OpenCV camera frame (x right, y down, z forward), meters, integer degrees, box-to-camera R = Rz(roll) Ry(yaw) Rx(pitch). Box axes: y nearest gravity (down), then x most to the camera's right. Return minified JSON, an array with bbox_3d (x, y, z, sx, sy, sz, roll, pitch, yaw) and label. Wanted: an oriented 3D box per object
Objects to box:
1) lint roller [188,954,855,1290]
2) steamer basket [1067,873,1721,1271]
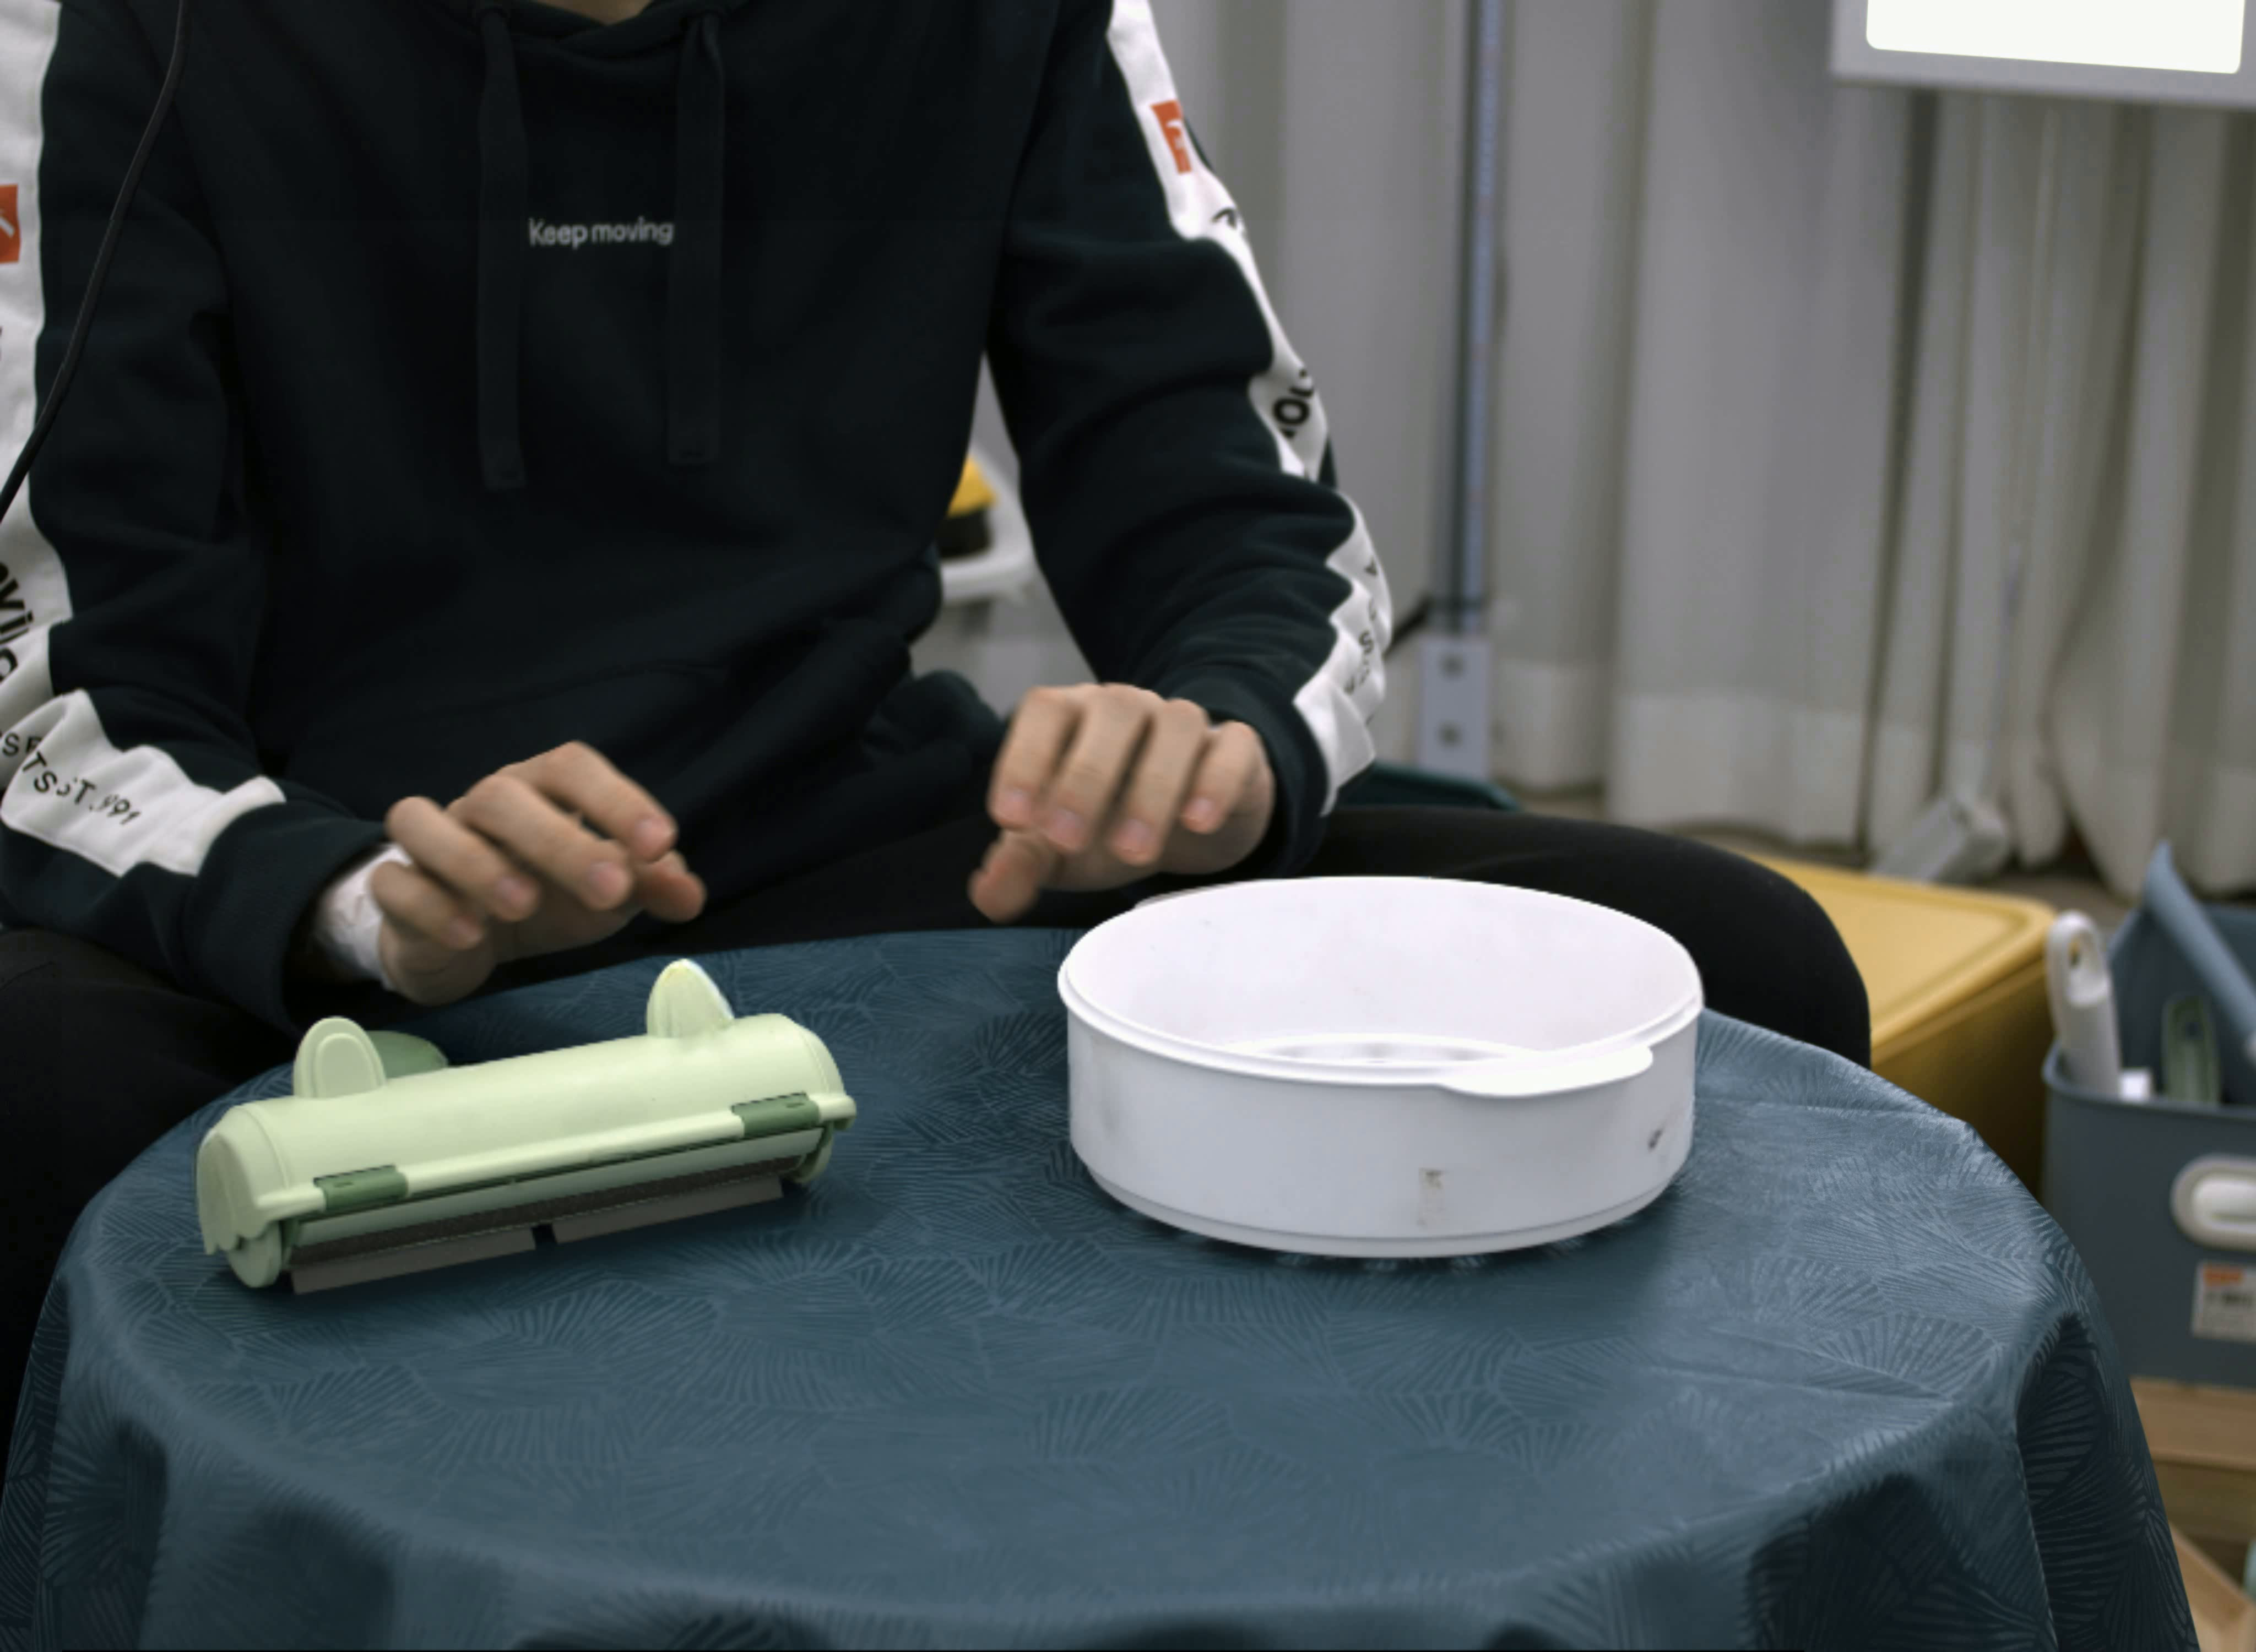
[{"bbox_3d":[-0.208,0.072,1.611,0.199,0.083,0.181,-9,23,-30],"label":"lint roller"},{"bbox_3d":[0.082,0.075,1.625,0.203,0.070,0.227,-9,20,-28],"label":"steamer basket"}]
